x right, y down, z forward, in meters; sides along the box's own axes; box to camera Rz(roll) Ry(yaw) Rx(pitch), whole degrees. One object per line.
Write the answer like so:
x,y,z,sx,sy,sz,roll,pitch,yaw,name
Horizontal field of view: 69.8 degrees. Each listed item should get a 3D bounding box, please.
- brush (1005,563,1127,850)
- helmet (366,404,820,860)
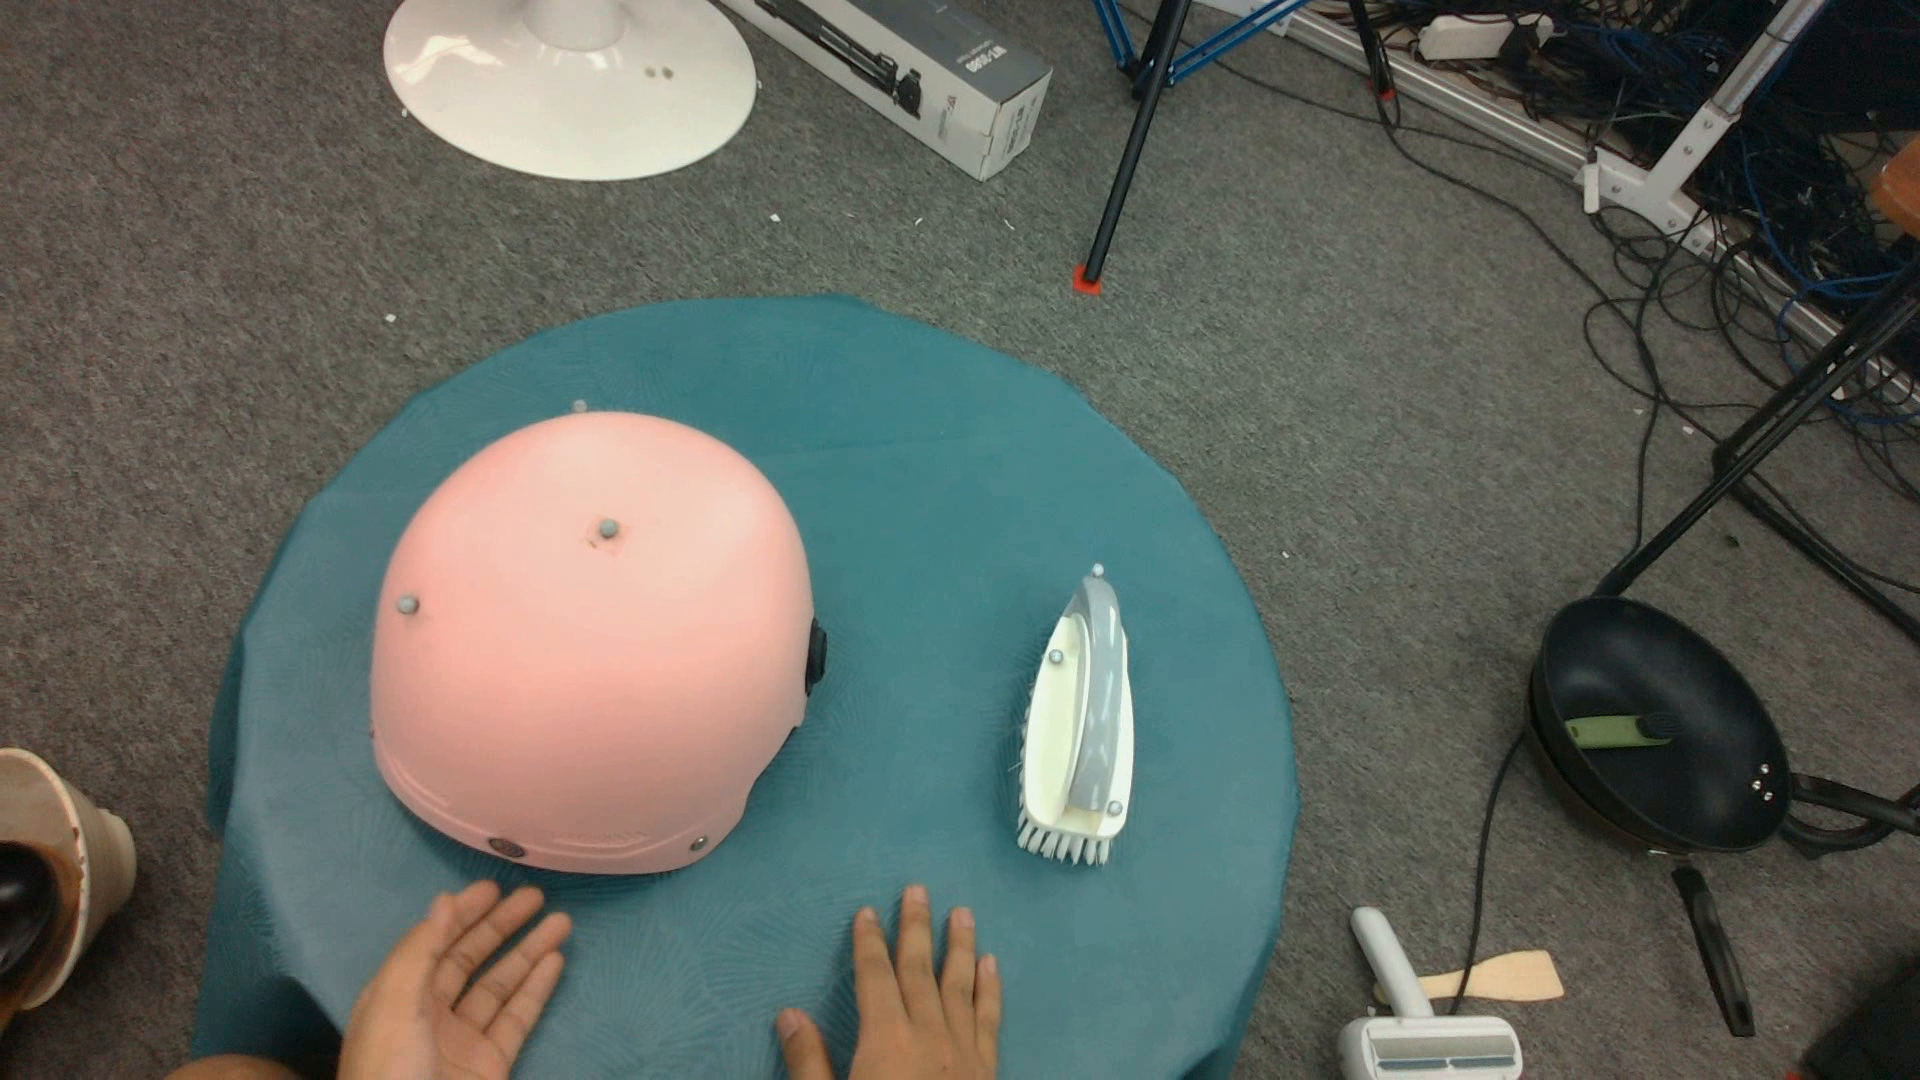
0.066,0.077,0.779,0.061,0.093,0.176,13,51,-8,brush
-0.184,0.020,0.713,0.234,0.158,0.267,18,49,-2,helmet
